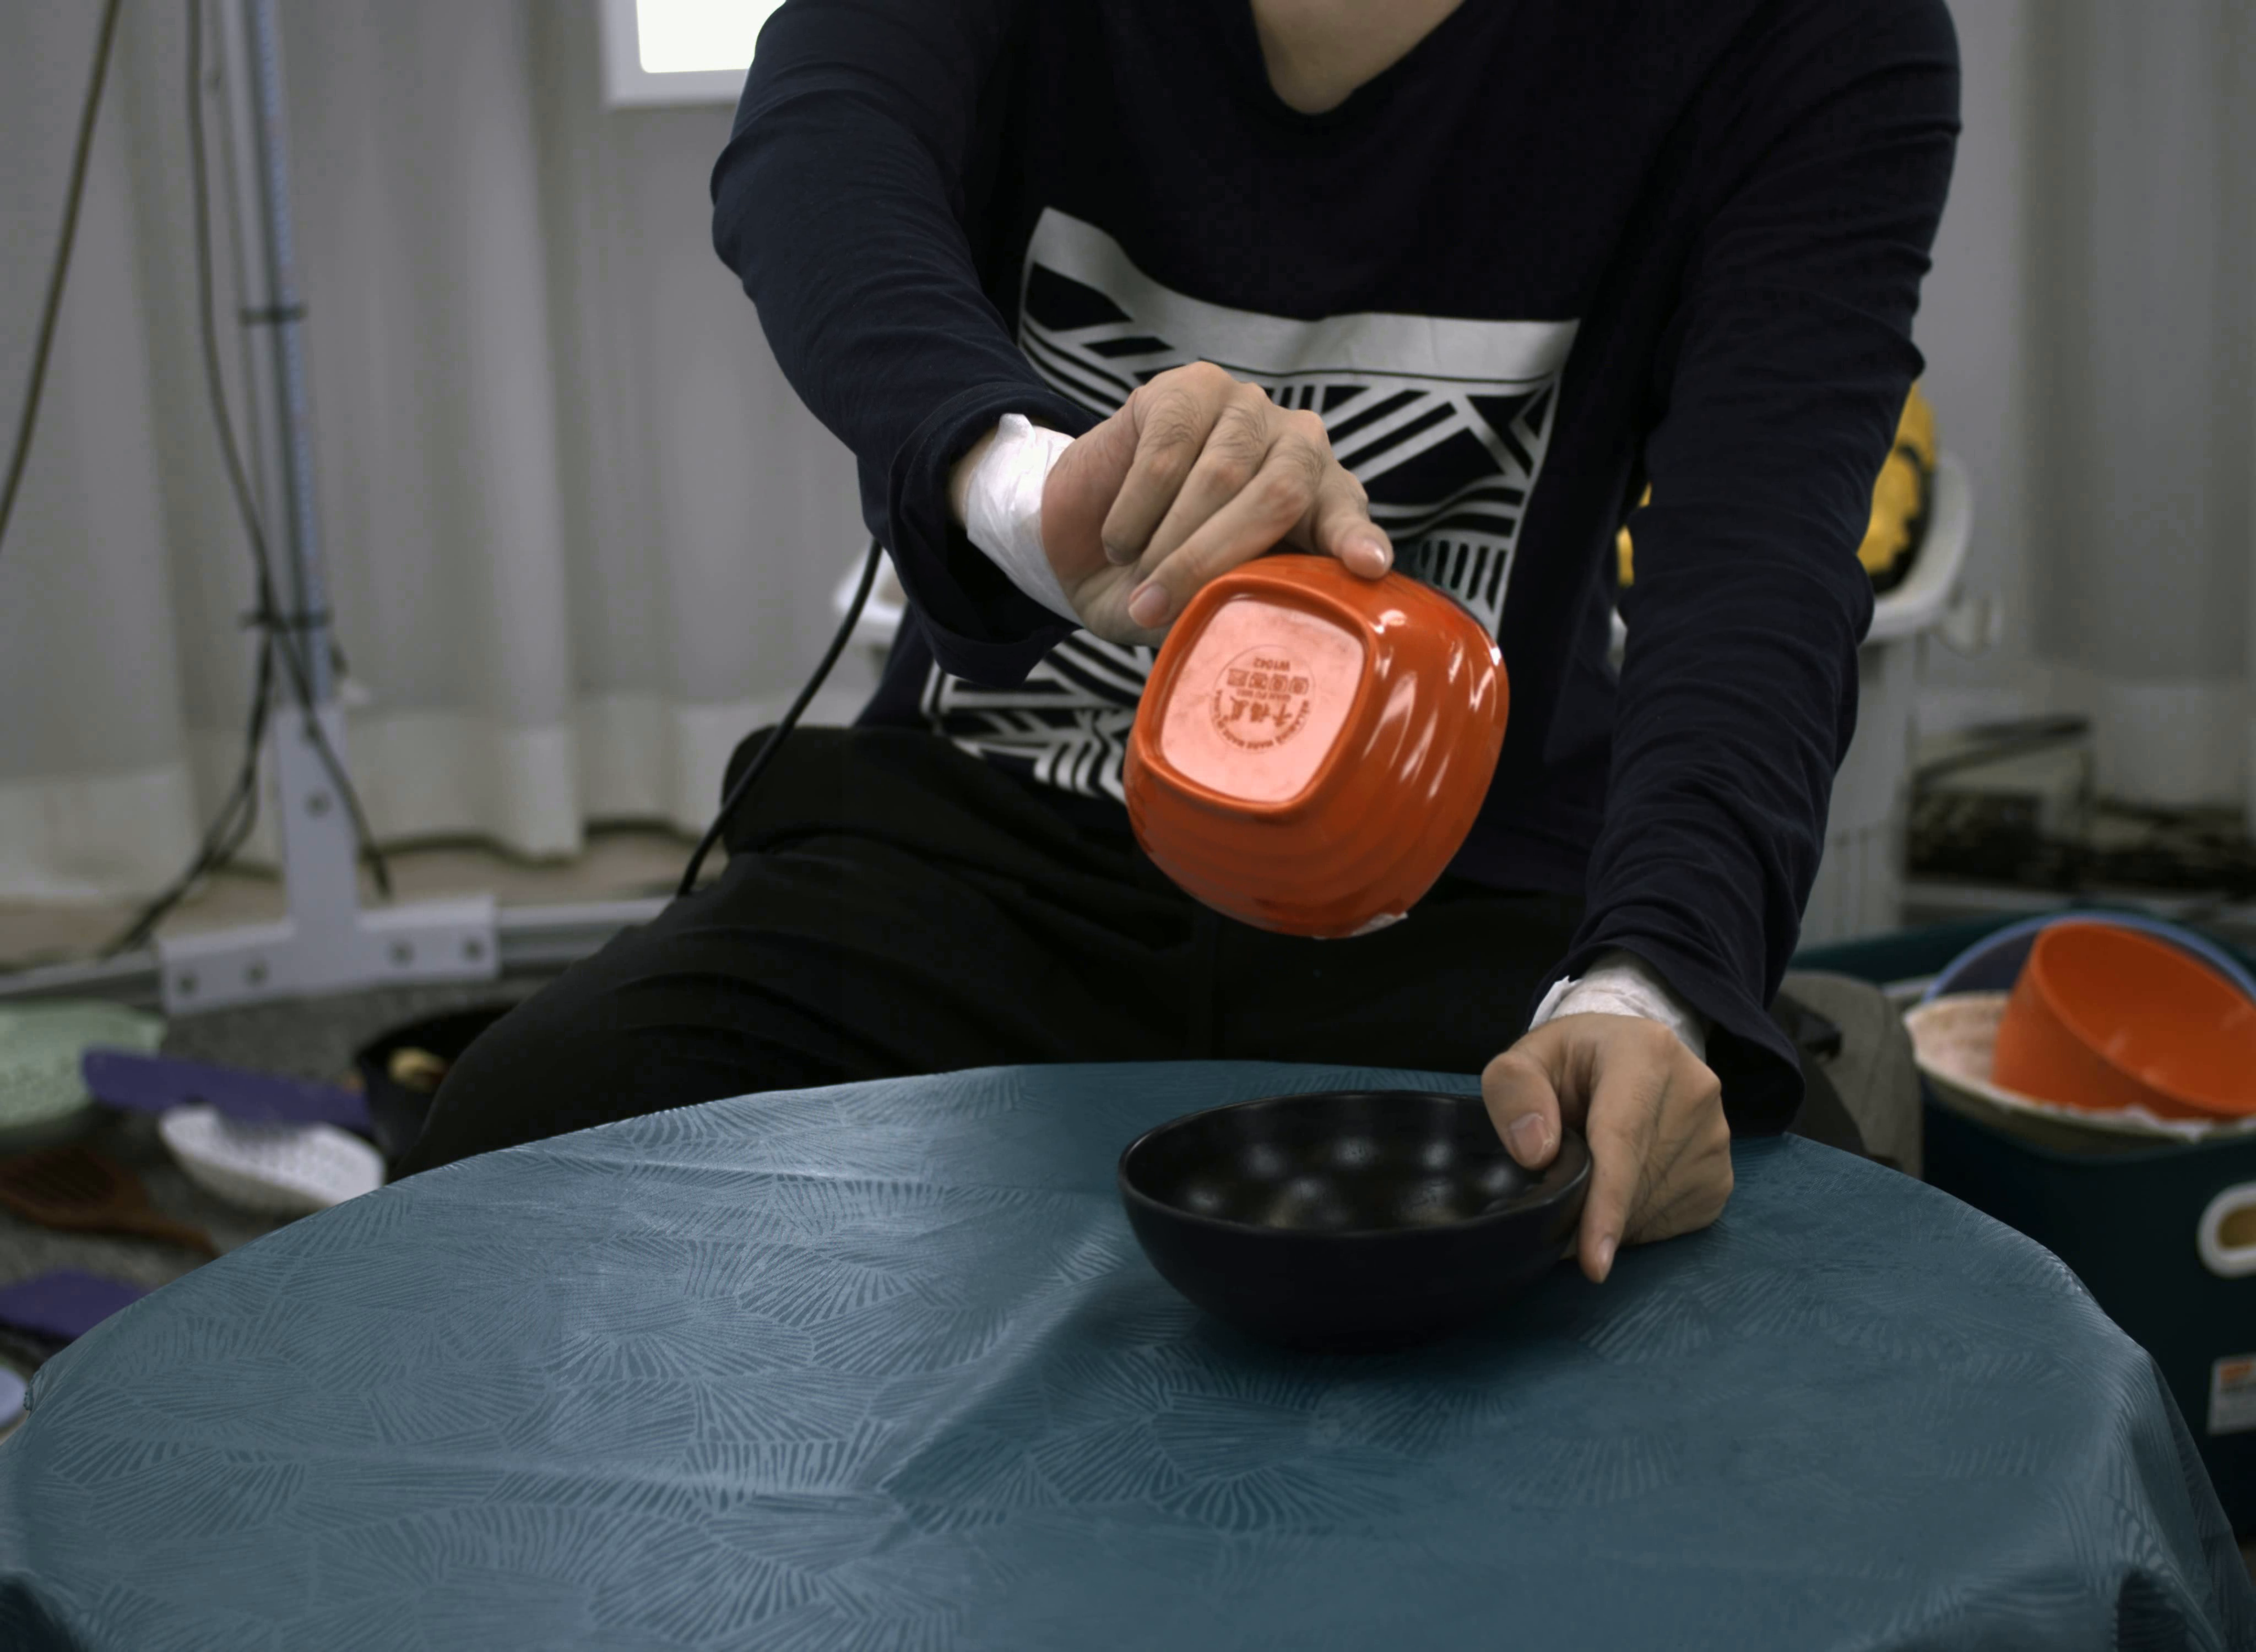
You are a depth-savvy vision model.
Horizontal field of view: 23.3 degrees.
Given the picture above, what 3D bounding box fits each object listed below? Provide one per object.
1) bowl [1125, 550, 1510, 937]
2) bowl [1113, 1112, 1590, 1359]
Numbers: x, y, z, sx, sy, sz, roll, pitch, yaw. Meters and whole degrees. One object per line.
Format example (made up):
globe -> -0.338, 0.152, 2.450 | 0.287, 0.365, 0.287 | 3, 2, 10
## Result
bowl -> 0.045, -0.031, 1.545 | 0.119, 0.120, 0.051 | 6, -16, 30
bowl -> 0.065, 0.122, 1.590 | 0.139, 0.050, 0.140 | -1, 10, 0
